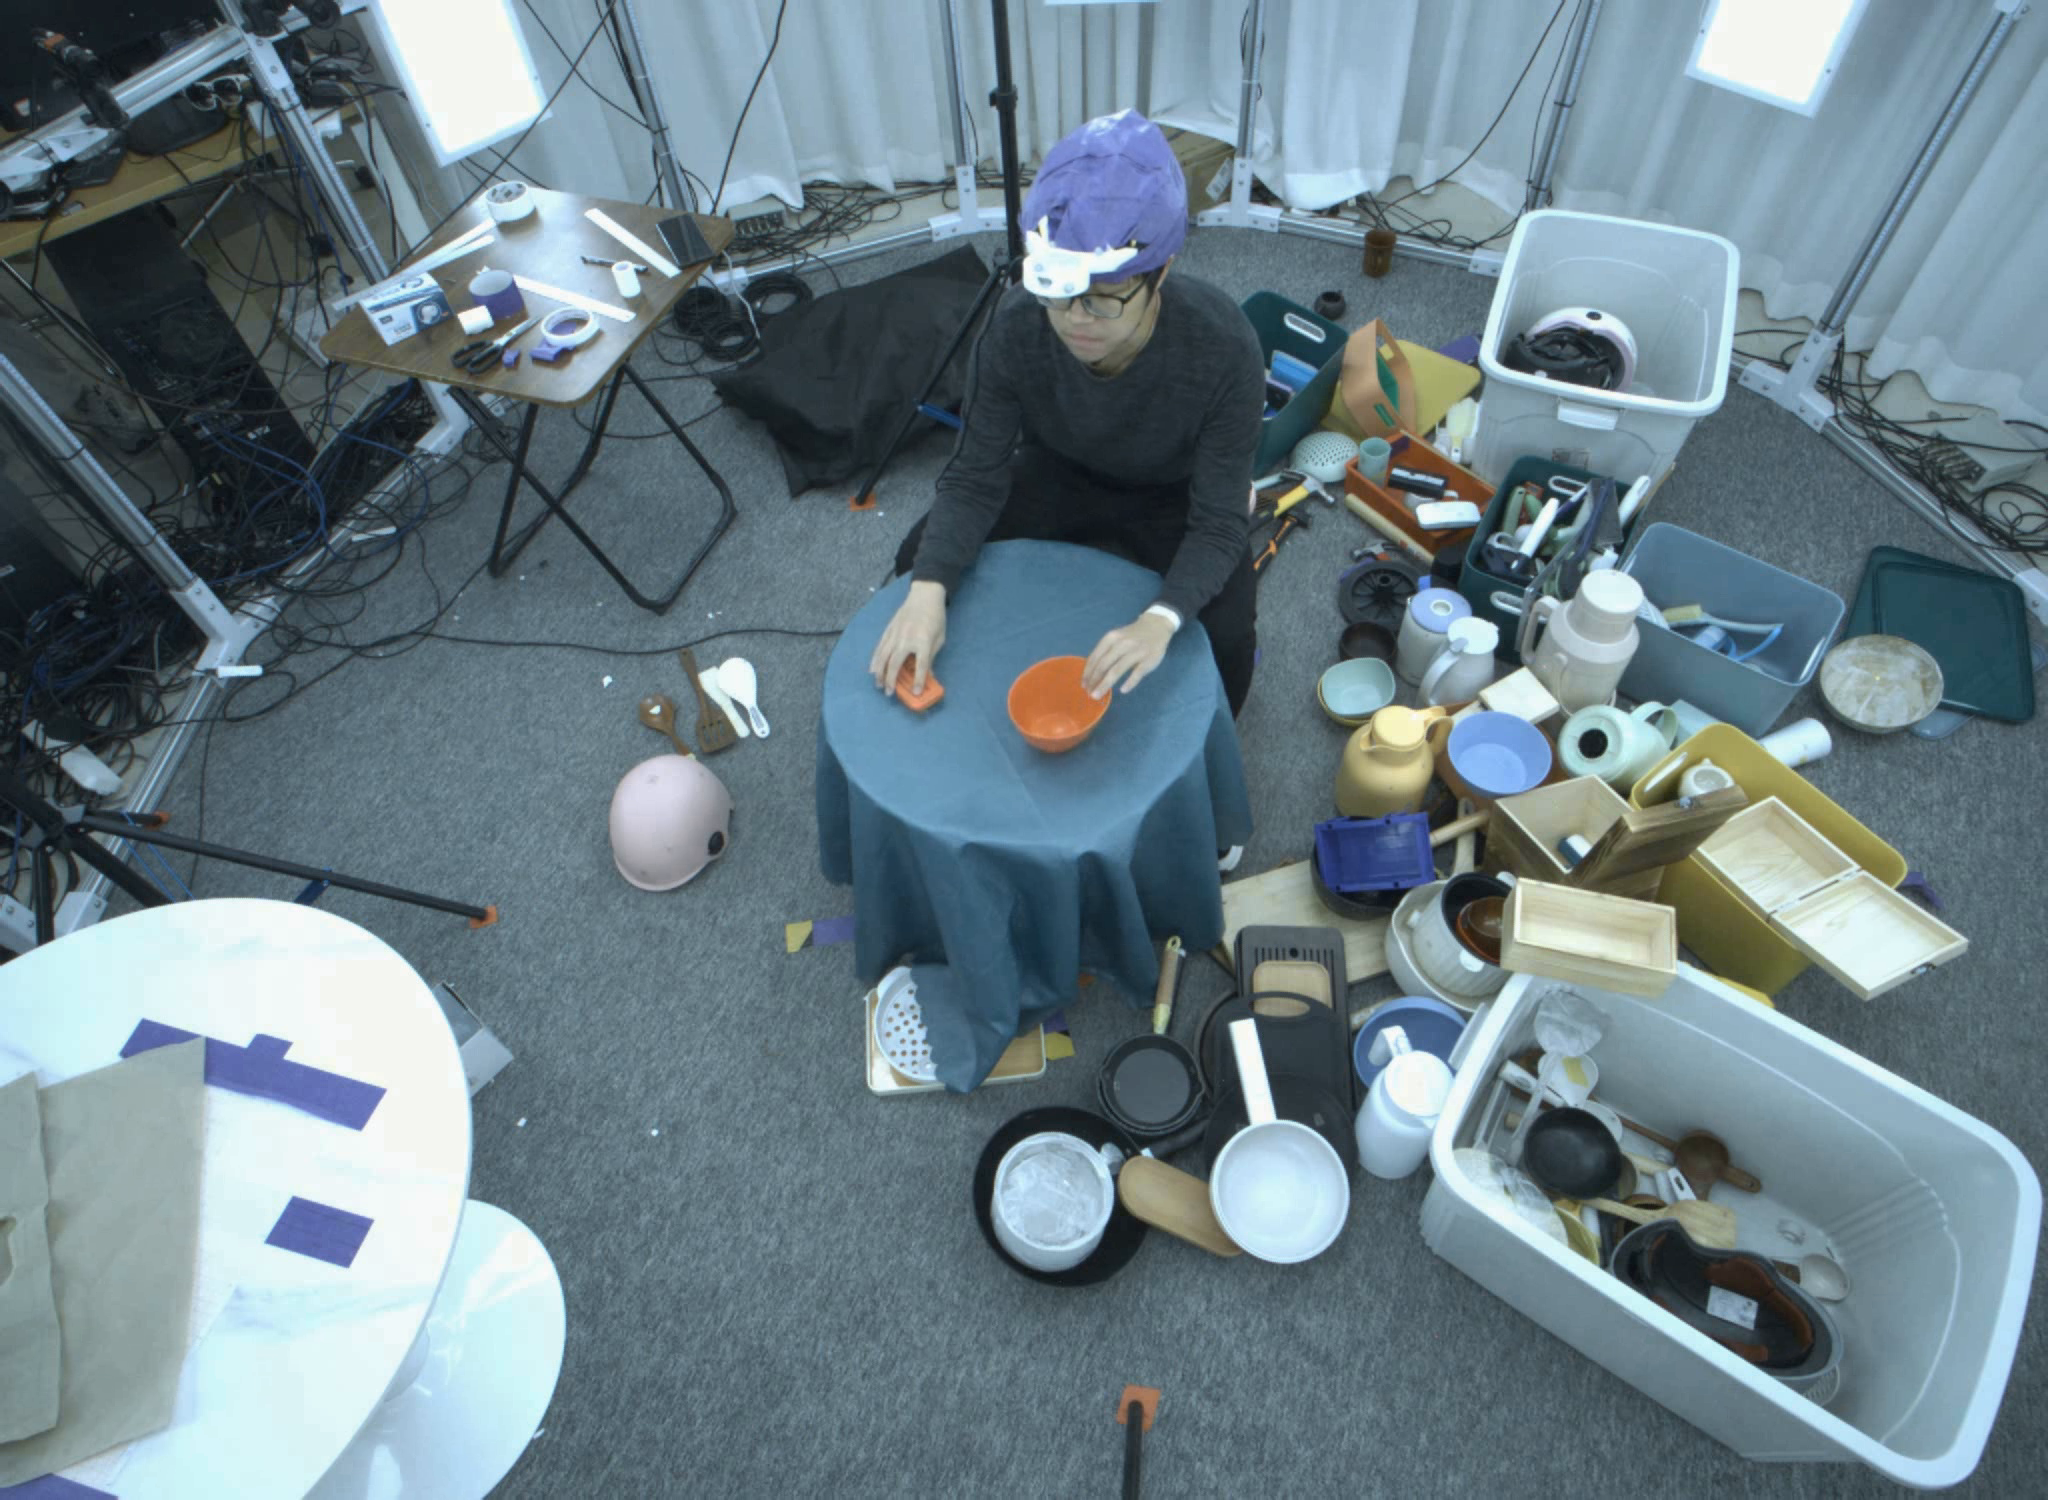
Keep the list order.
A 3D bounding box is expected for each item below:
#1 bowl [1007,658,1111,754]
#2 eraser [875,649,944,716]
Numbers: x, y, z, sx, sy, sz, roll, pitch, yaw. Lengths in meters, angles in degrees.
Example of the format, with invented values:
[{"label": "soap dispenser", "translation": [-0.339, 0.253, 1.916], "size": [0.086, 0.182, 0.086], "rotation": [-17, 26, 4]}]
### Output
[{"label": "bowl", "translation": [0.051, -0.050, 1.760], "size": [0.148, 0.106, 0.146], "rotation": [0, 55, 2]}, {"label": "eraser", "translation": [-0.173, -0.103, 1.846], "size": [0.059, 0.023, 0.106], "rotation": [-35, 64, -19]}]
